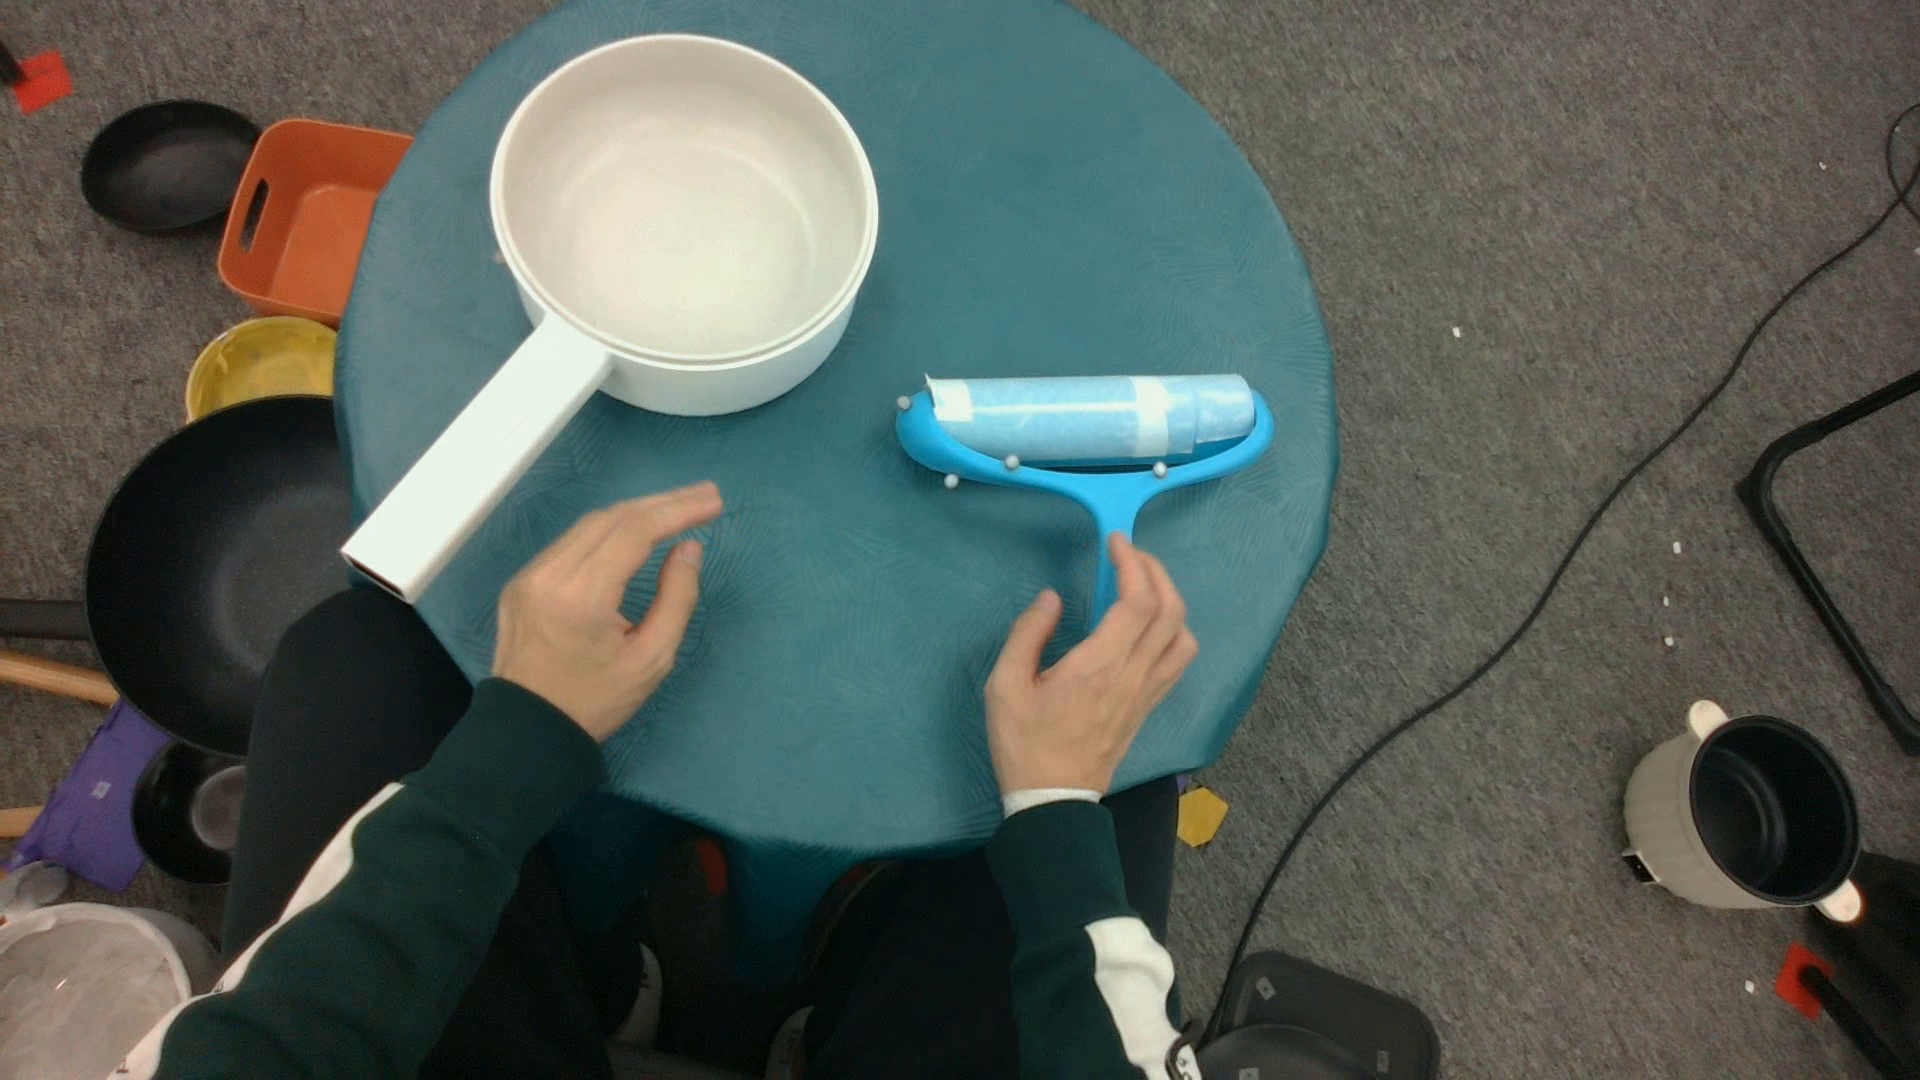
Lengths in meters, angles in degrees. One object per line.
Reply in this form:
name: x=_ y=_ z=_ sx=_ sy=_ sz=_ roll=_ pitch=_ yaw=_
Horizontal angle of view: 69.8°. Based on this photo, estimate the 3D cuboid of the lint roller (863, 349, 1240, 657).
lint roller: x=0.066 y=-0.027 z=0.800 sx=0.229 sy=0.067 sz=0.180 roll=-6 pitch=73 yaw=-16

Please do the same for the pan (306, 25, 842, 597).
pan: x=-0.210 y=-0.114 z=0.747 sx=0.201 sy=0.101 sz=0.356 roll=33 pitch=69 yaw=-2
